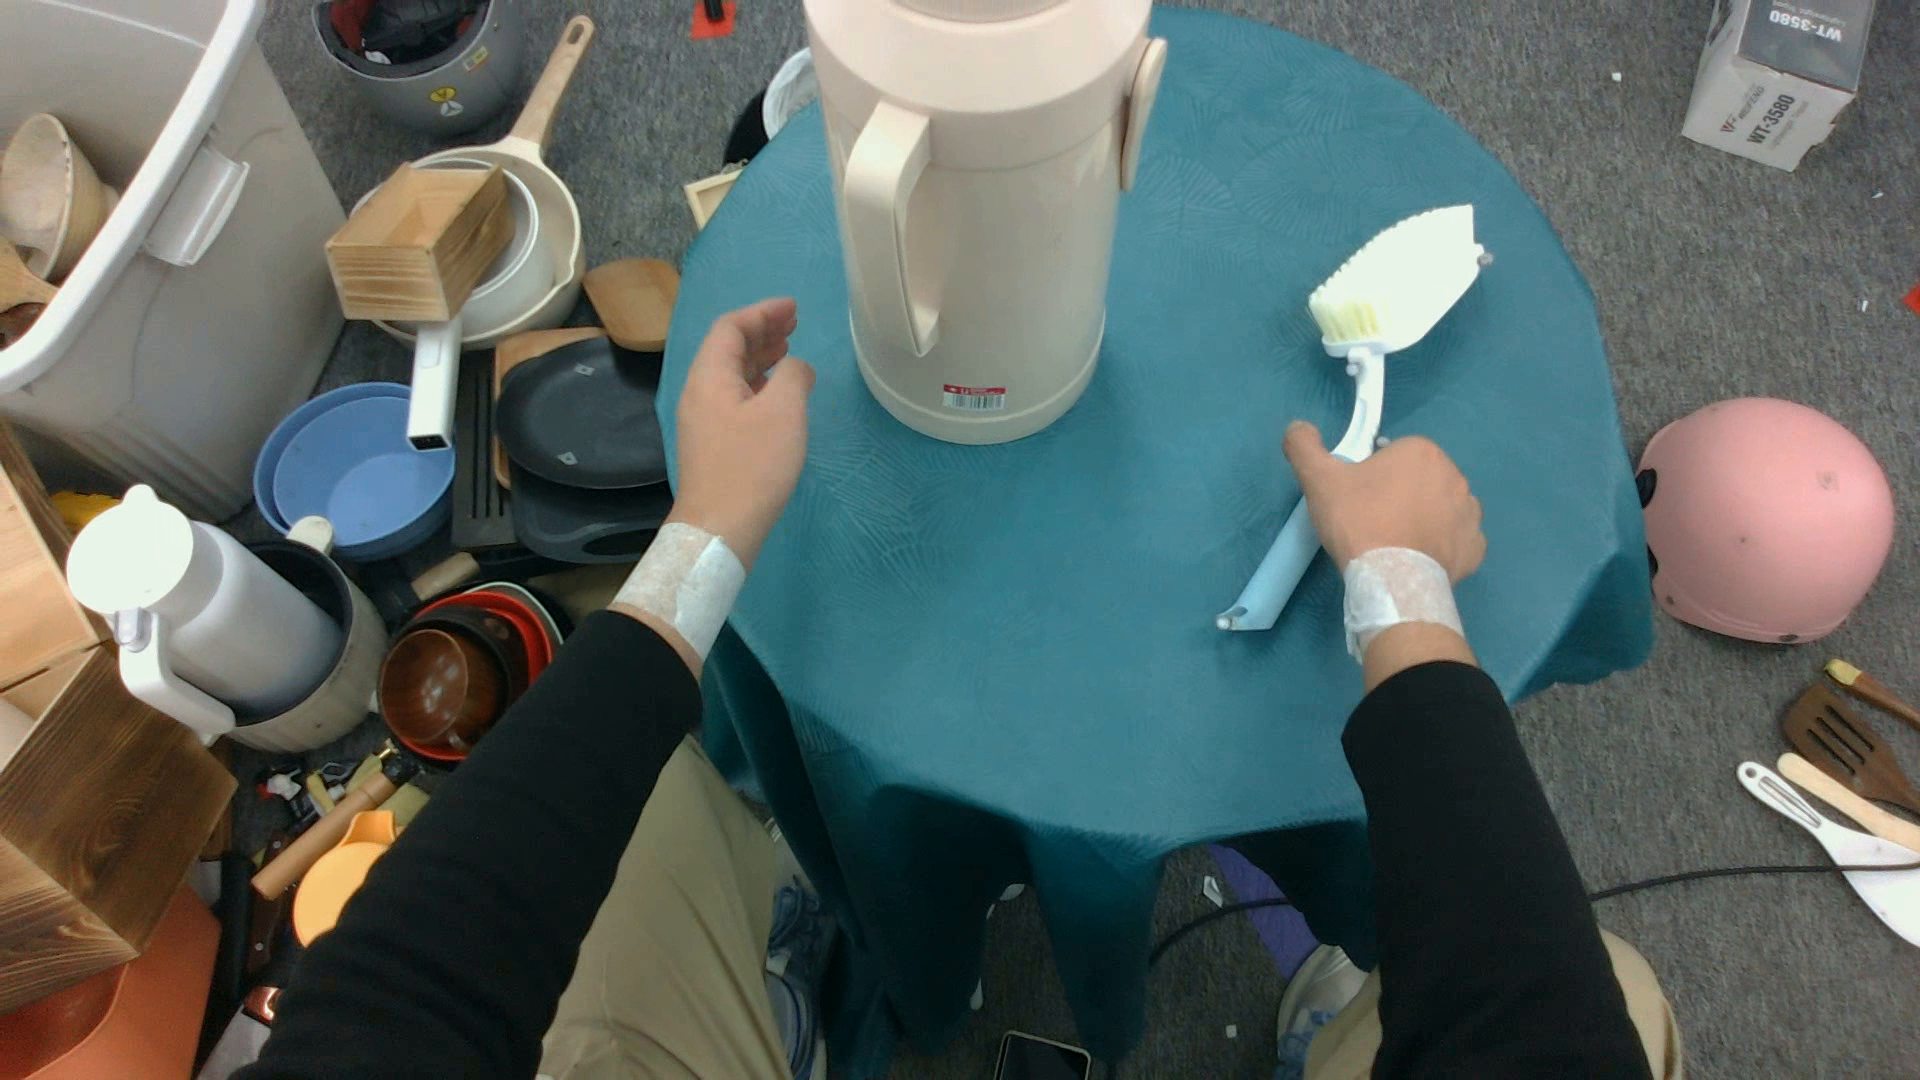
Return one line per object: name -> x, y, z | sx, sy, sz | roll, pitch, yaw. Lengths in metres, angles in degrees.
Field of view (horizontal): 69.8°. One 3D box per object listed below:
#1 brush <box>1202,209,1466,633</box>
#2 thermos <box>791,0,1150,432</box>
brush -> 0.214, -0.089, 0.818 | 0.084, 0.083, 0.326 | 32, 69, 9
thermos -> -0.006, -0.204, 0.695 | 0.175, 0.405, 0.208 | 22, 68, 8
